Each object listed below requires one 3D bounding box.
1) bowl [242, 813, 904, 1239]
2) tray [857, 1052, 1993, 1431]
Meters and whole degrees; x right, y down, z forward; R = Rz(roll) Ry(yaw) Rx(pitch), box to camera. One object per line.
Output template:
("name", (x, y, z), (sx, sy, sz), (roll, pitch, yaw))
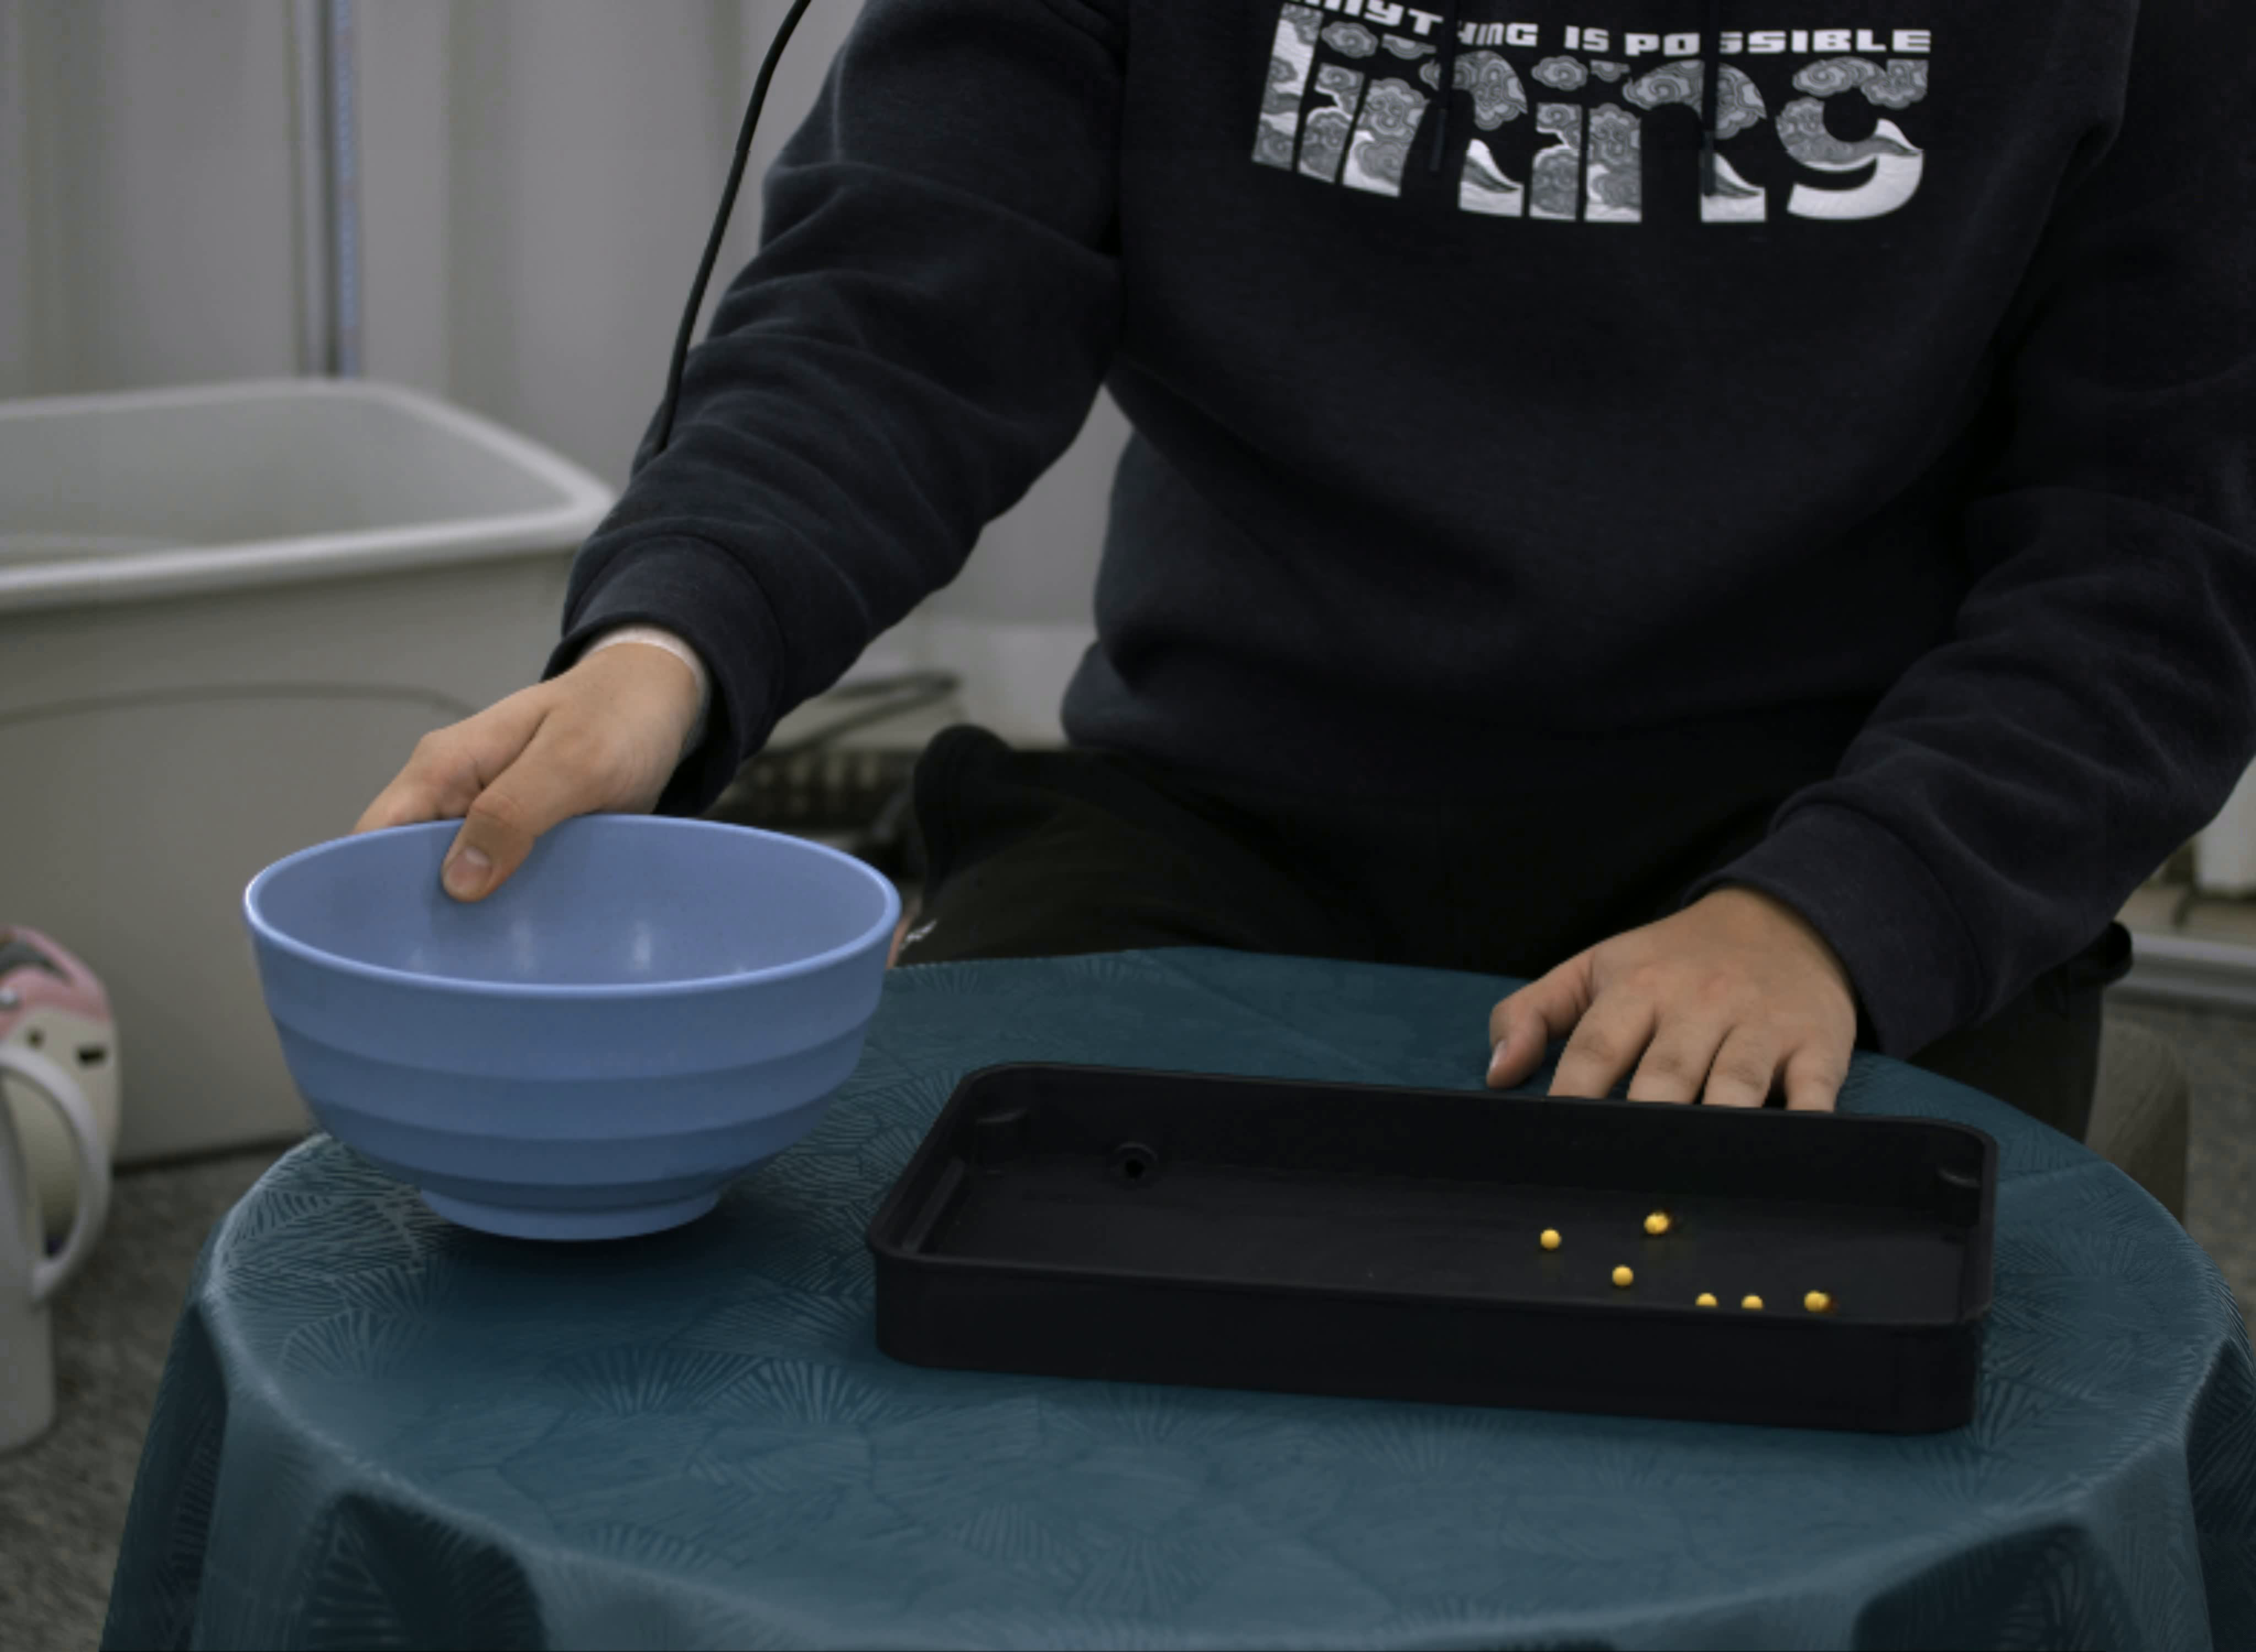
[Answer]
("bowl", (-0.165, 0.064, 1.579), (0.196, 0.096, 0.195), (1, 15, 0))
("tray", (0.091, 0.118, 1.538), (0.316, 0.037, 0.184), (3, 15, 8))
